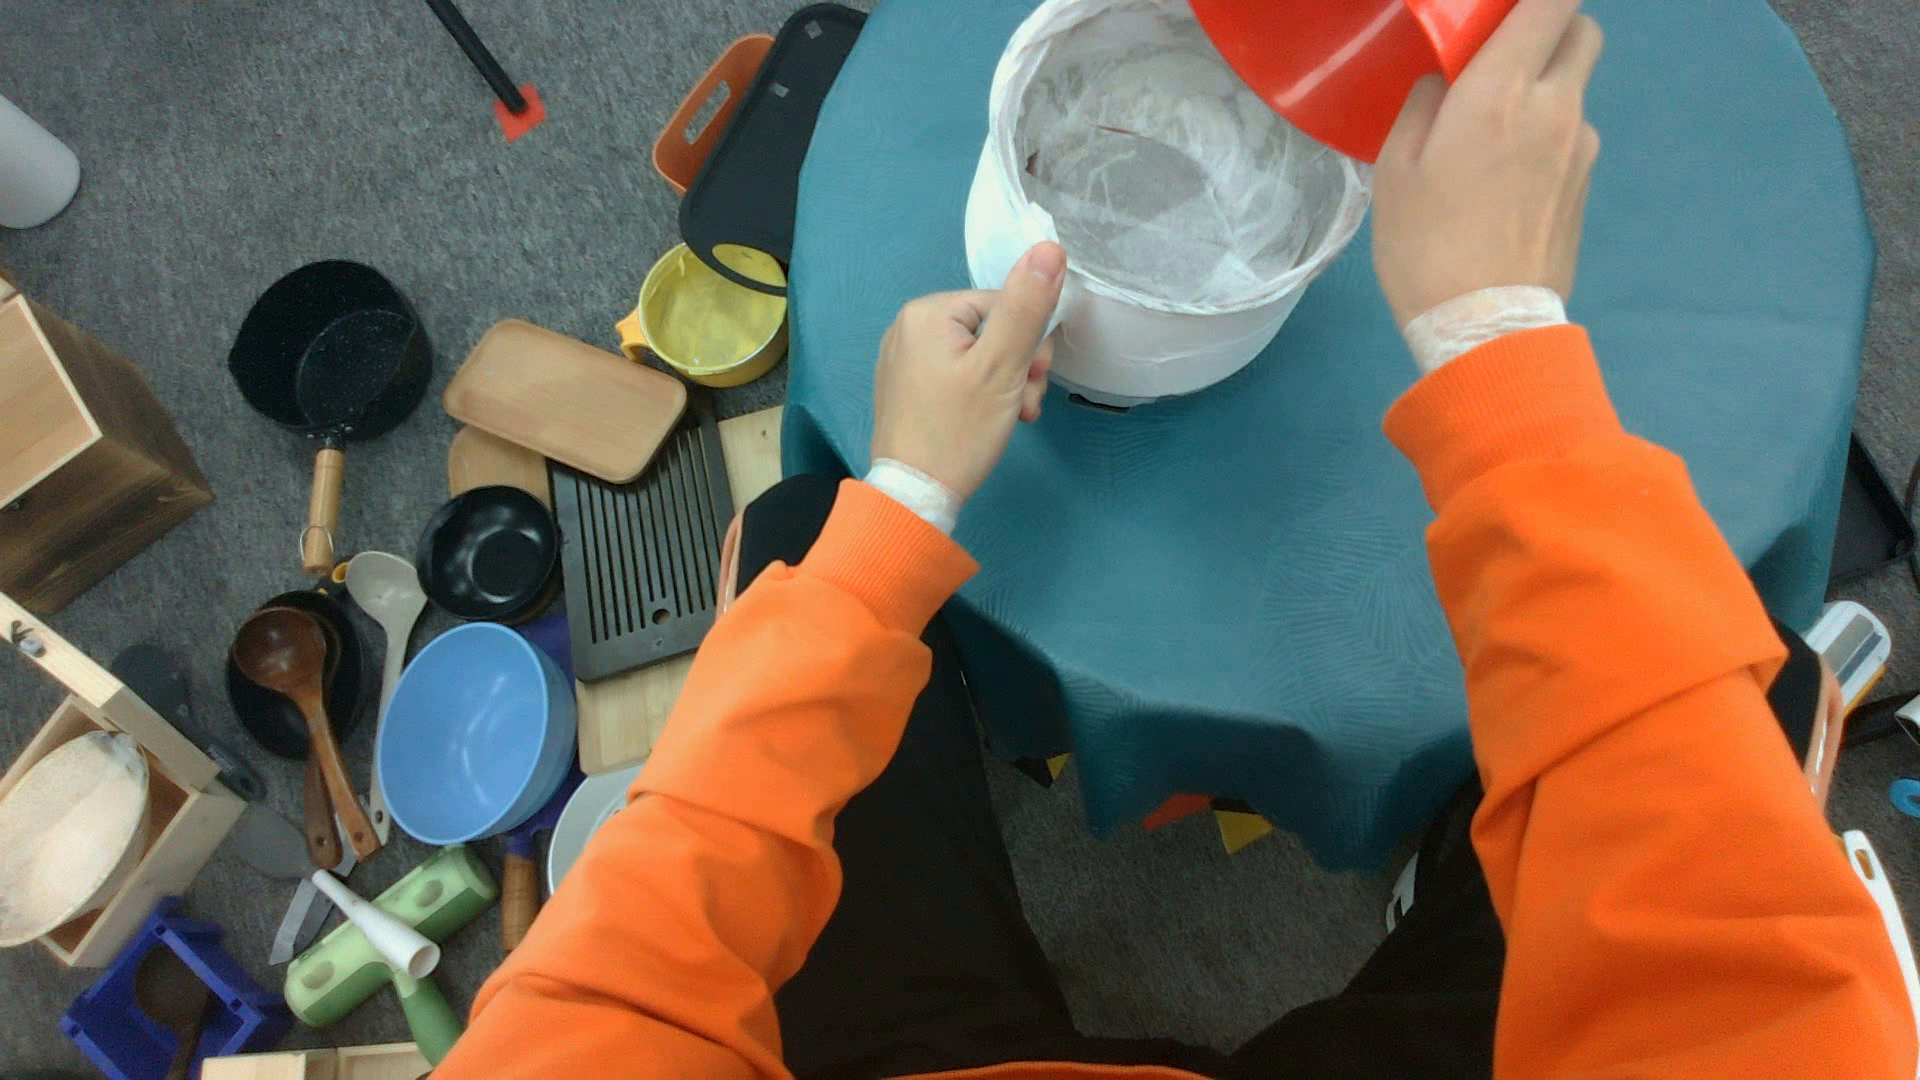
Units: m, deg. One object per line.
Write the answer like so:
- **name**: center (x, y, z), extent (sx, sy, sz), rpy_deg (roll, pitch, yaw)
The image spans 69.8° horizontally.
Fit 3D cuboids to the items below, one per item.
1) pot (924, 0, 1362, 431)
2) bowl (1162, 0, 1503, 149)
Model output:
- **pot**: center (0.071, -0.154, 0.671), extent (0.179, 0.136, 0.234), rpy_deg (39, 73, 4)
- **bowl**: center (0.162, -0.243, 0.573), extent (0.104, 0.148, 0.148), rpy_deg (-43, 73, 2)
